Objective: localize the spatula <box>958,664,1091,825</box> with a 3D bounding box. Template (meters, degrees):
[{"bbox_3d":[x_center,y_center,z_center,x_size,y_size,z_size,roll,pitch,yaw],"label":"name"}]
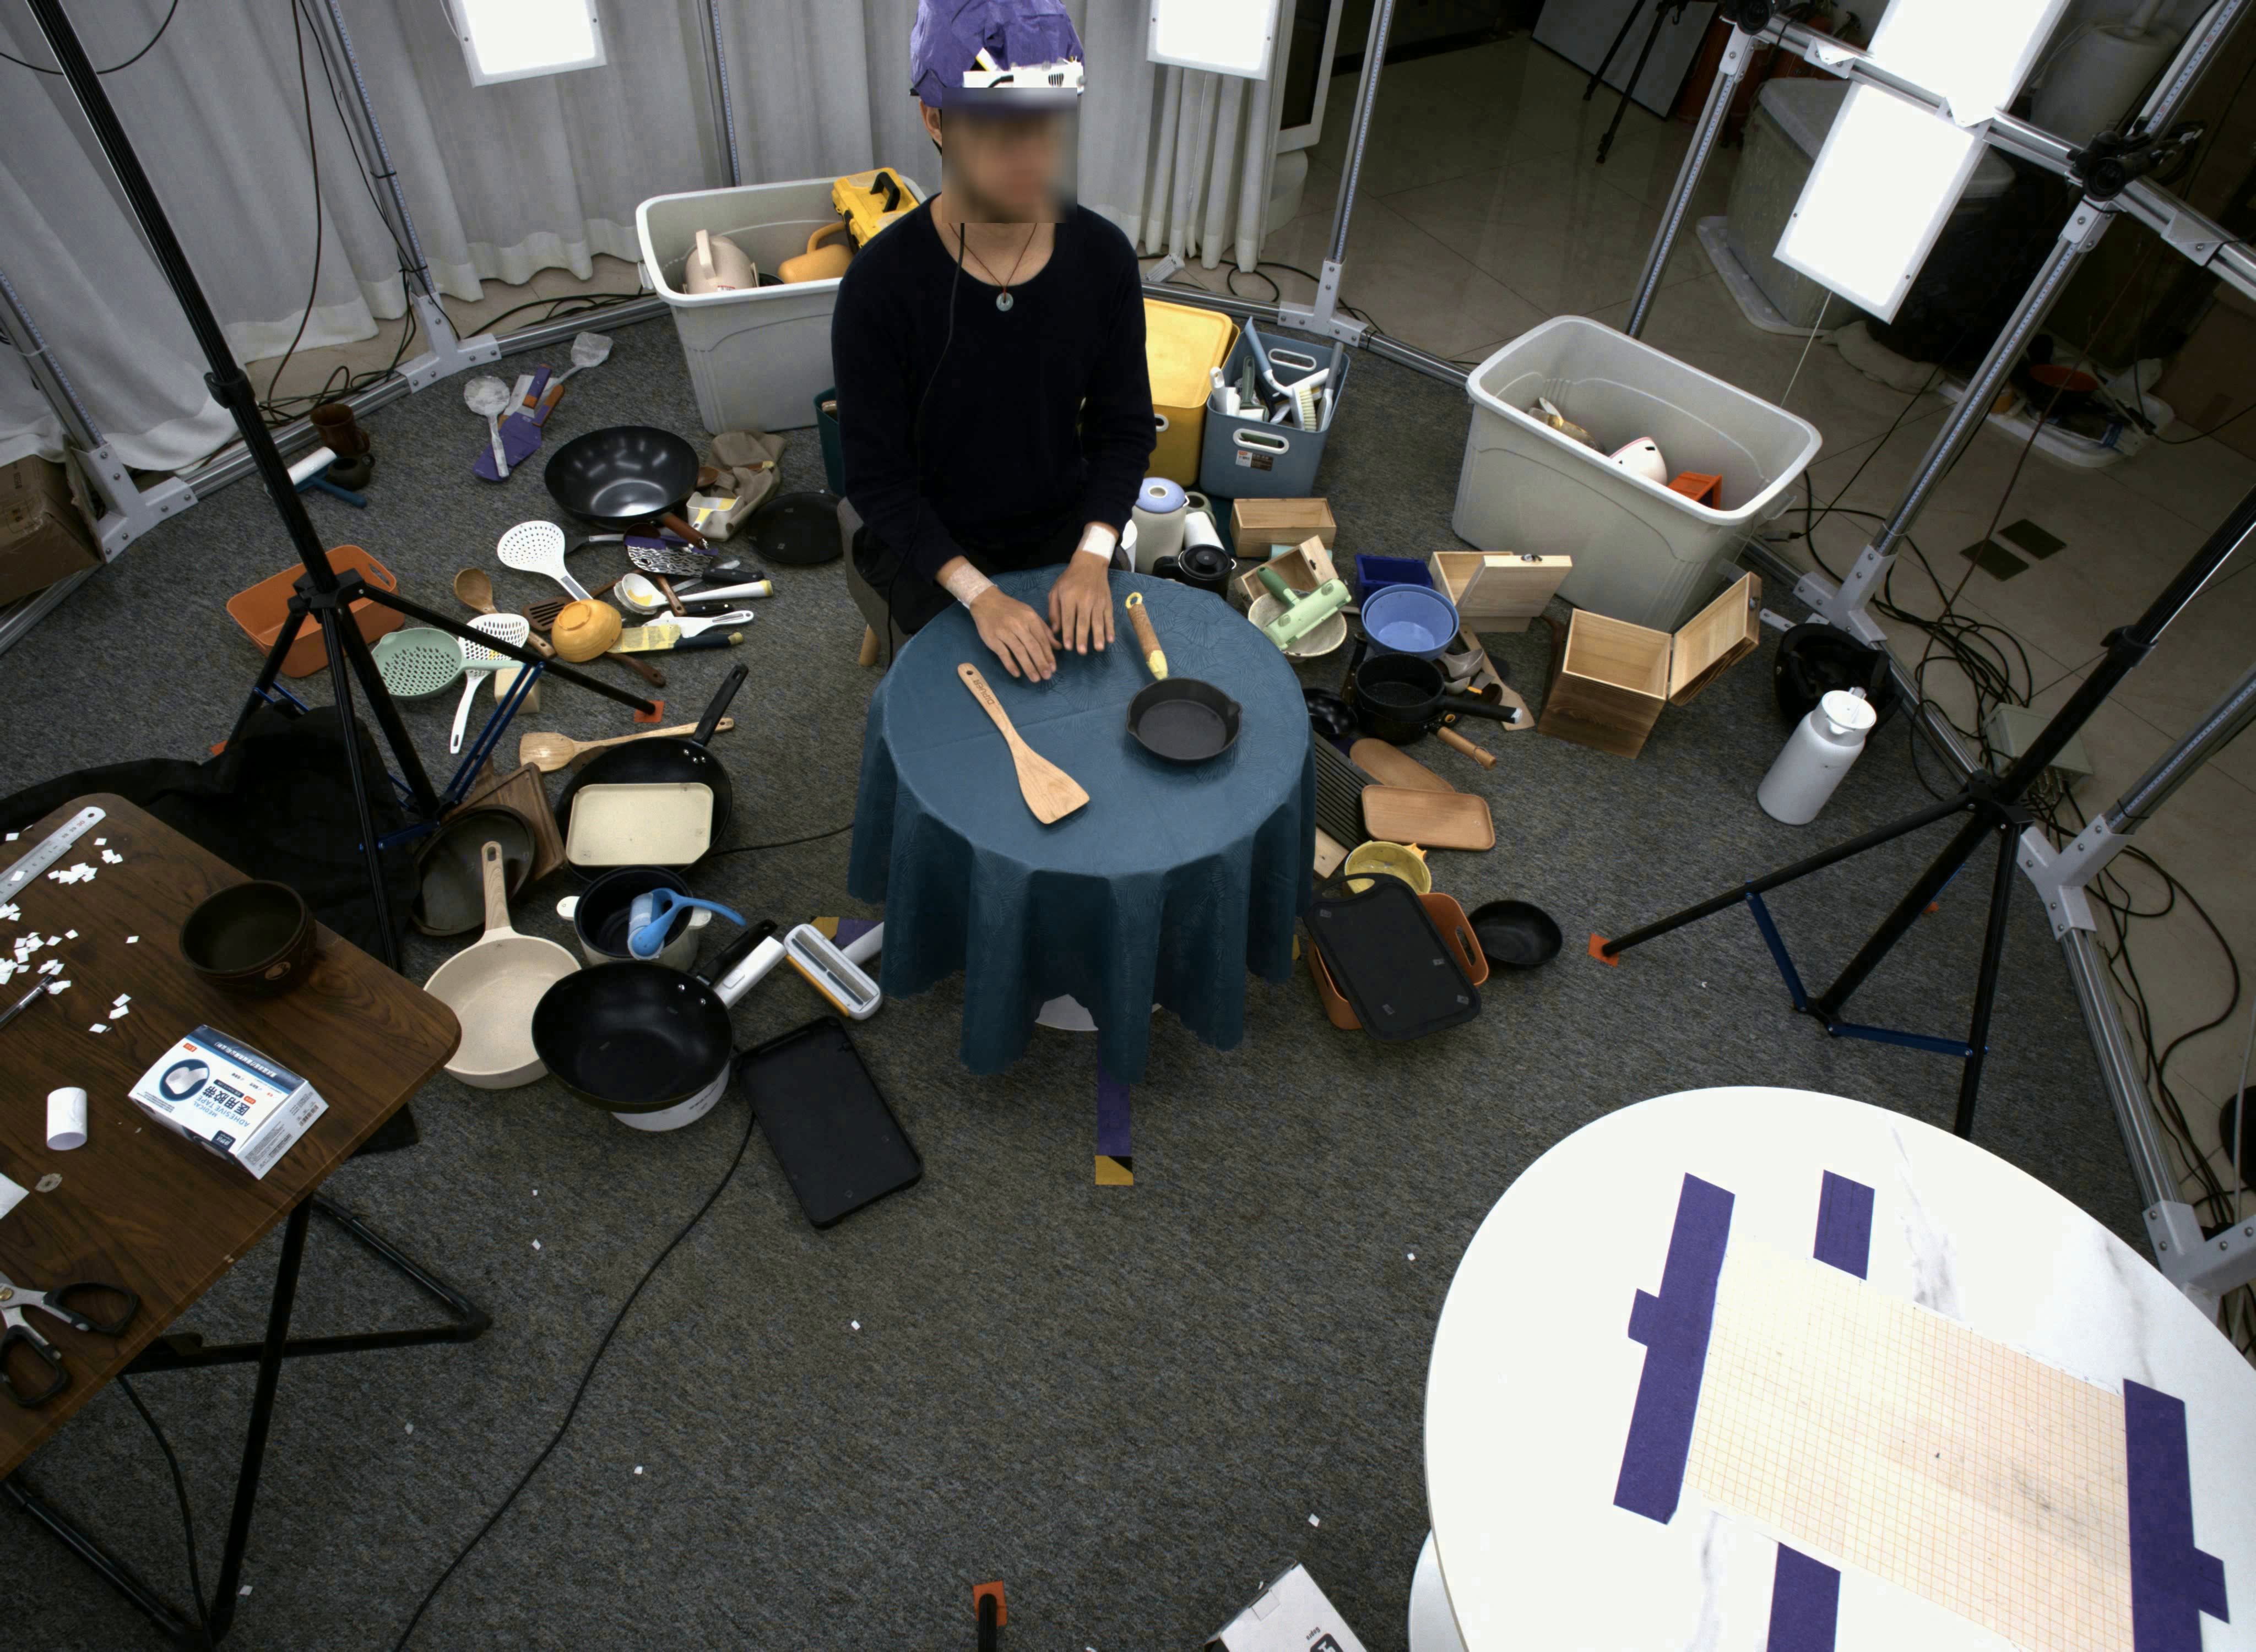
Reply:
[{"bbox_3d":[-0.154,-0.121,1.753,0.080,0.016,0.334,-21,53,-21],"label":"spatula"}]

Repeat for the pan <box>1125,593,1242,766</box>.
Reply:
[{"bbox_3d":[0.054,-0.210,1.821,0.169,0.048,0.332,-10,52,-12],"label":"pan"}]
